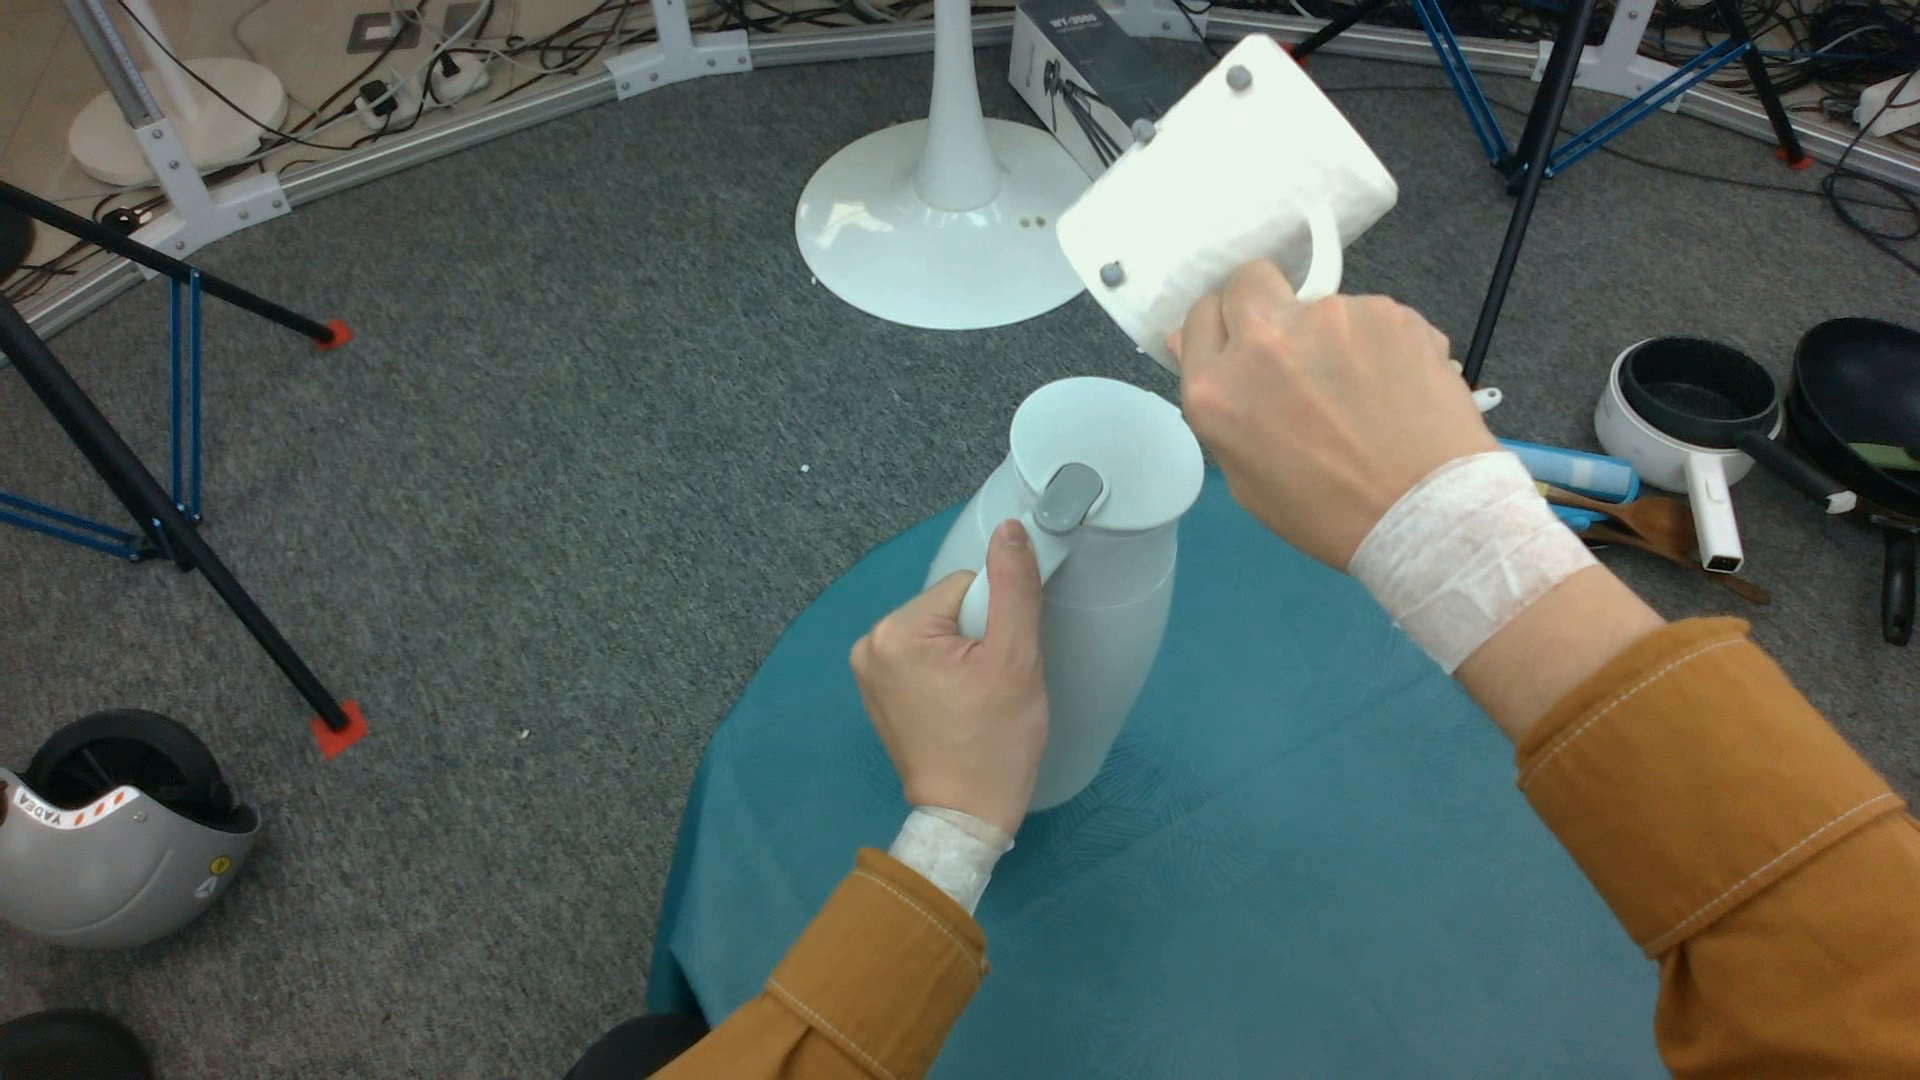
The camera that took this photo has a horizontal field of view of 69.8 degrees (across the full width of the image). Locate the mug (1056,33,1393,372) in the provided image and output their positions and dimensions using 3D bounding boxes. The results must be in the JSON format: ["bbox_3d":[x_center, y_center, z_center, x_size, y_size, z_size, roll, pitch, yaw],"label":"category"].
[{"bbox_3d":[0.105,-0.119,0.523,0.101,0.085,0.118,-42,41,25],"label":"mug"}]

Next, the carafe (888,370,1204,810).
[{"bbox_3d":[0.036,0.038,0.704,0.132,0.247,0.168,34,53,12],"label":"carafe"}]
